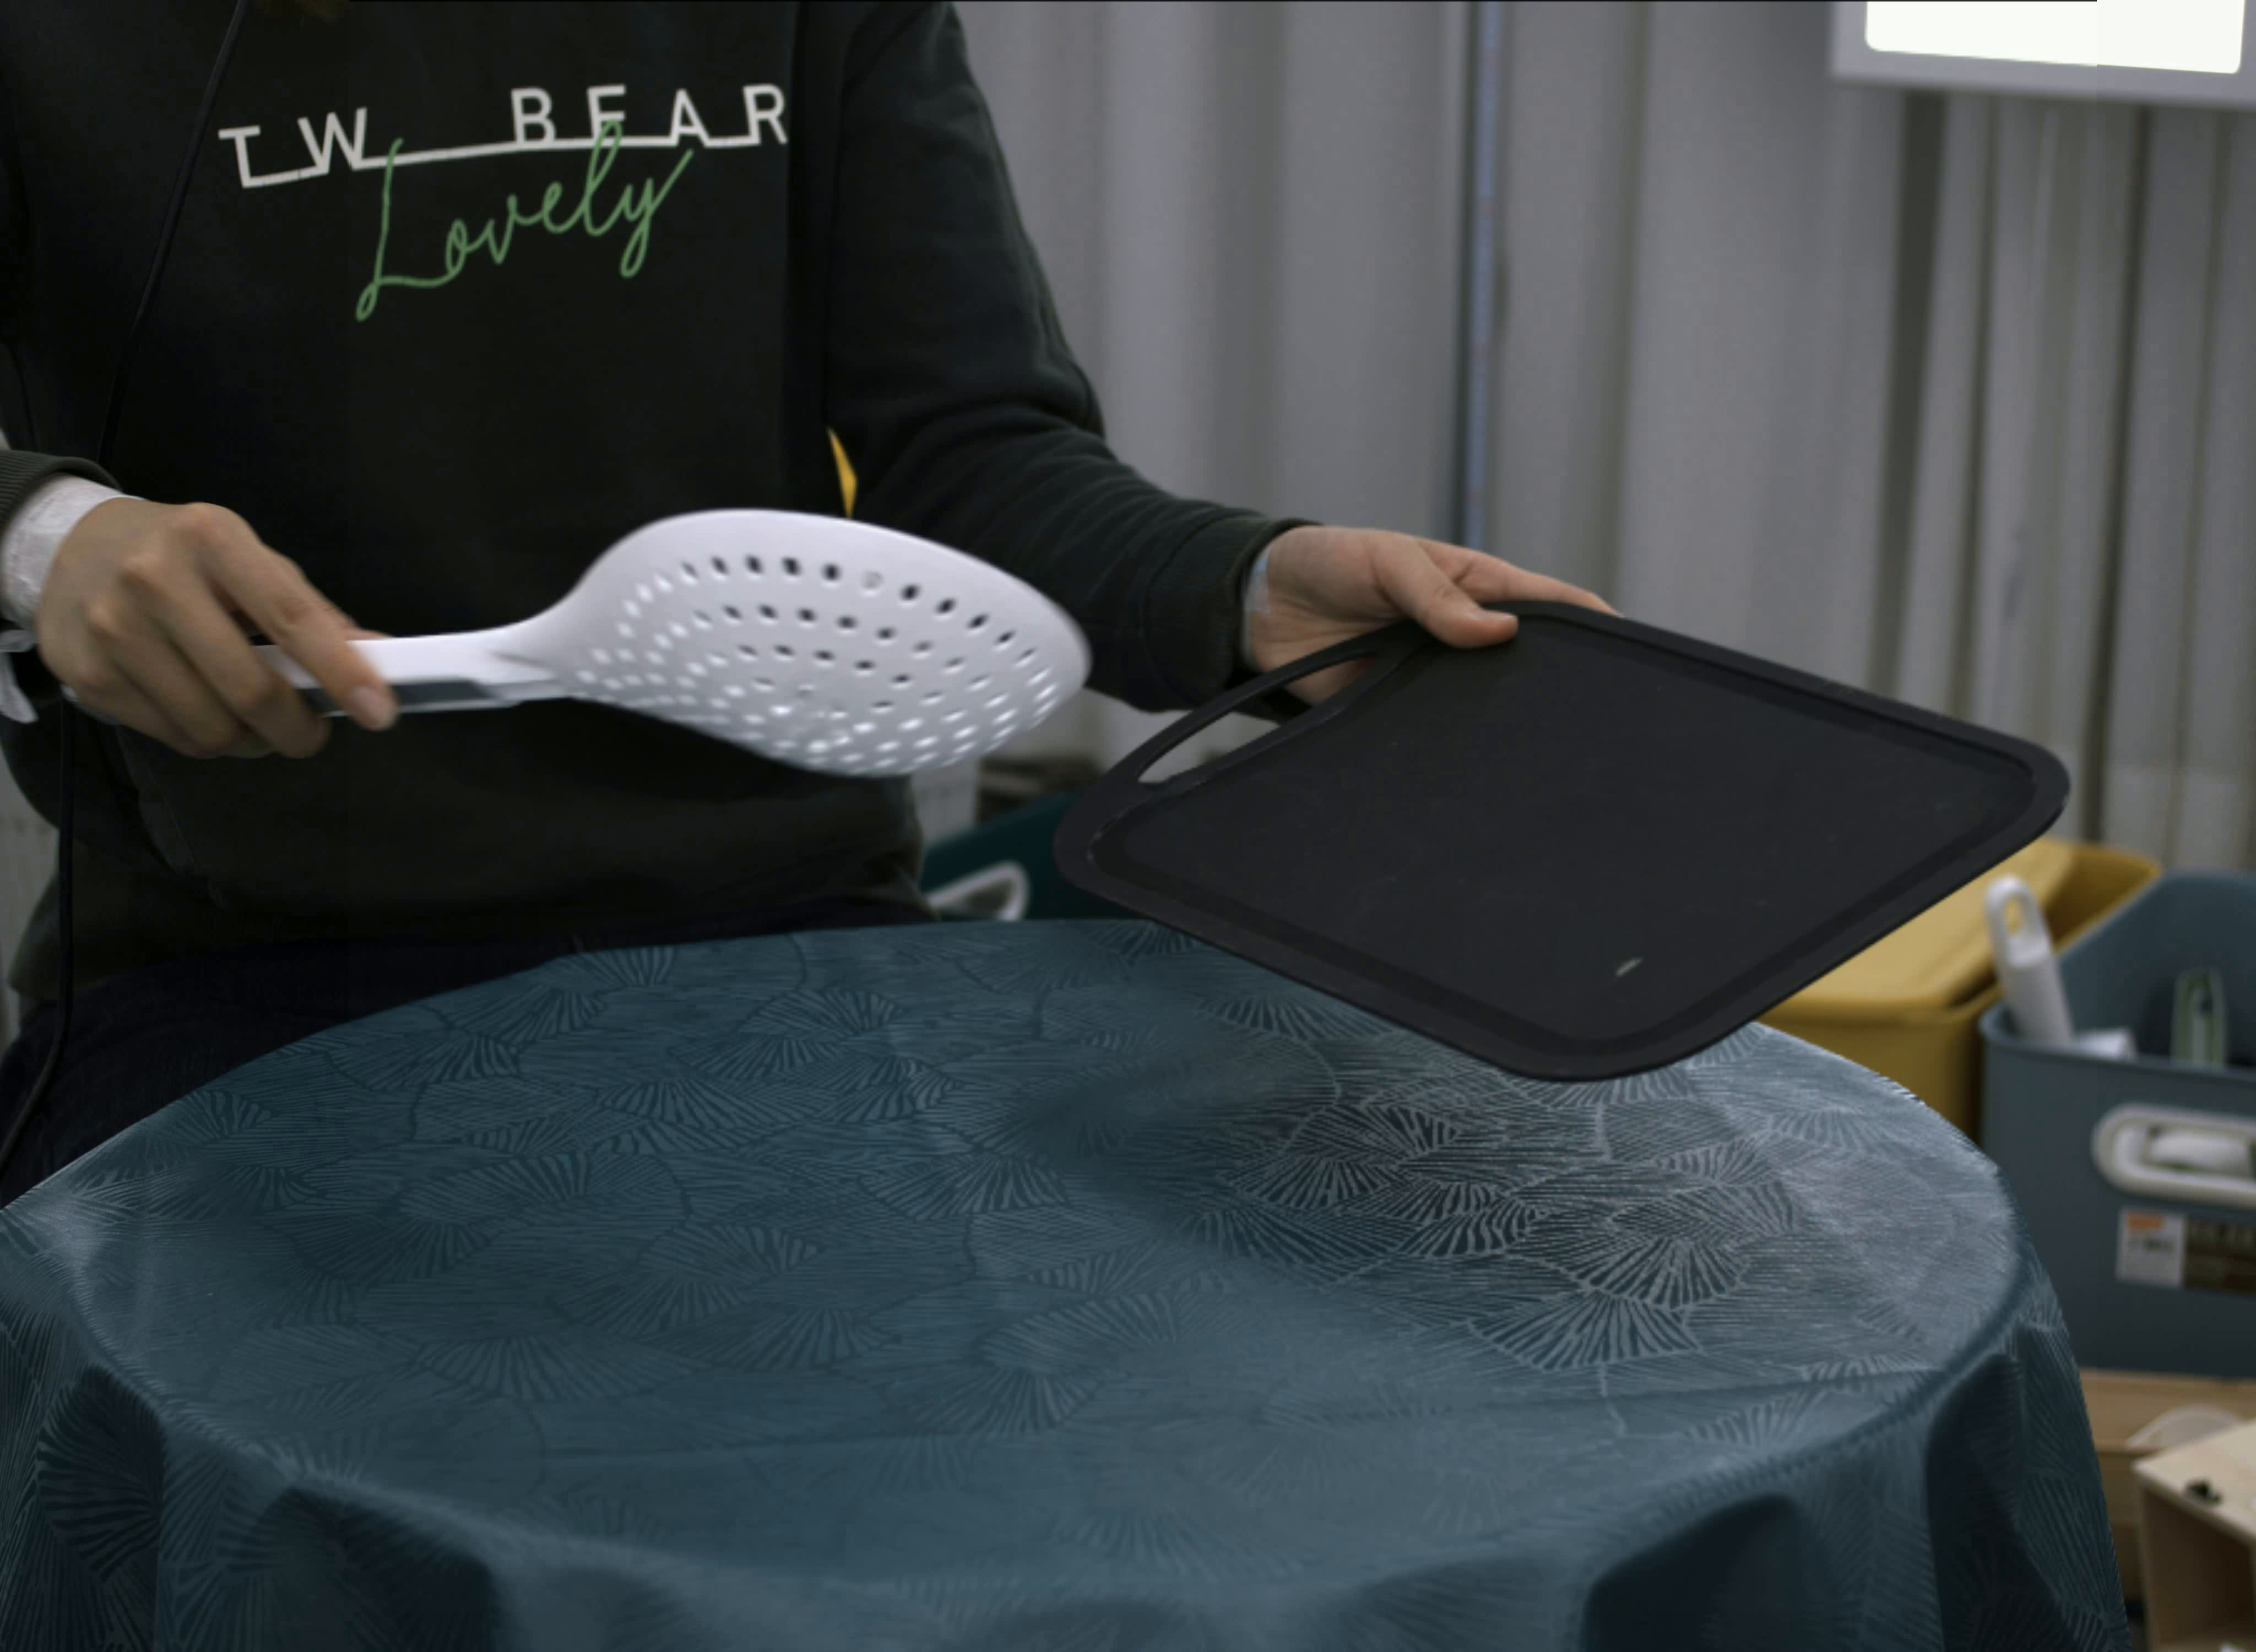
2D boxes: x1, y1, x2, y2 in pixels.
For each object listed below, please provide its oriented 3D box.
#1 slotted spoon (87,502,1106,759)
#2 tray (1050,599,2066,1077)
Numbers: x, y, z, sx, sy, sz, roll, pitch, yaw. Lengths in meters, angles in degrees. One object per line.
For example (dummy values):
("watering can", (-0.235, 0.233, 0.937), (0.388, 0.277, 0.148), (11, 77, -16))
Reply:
("slotted spoon", (-0.165, -0.049, 1.516), (0.346, 0.045, 0.138), (2, -20, 33))
("tray", (0.120, -0.005, 1.626), (0.211, 0.010, 0.321), (-29, 29, -26))
